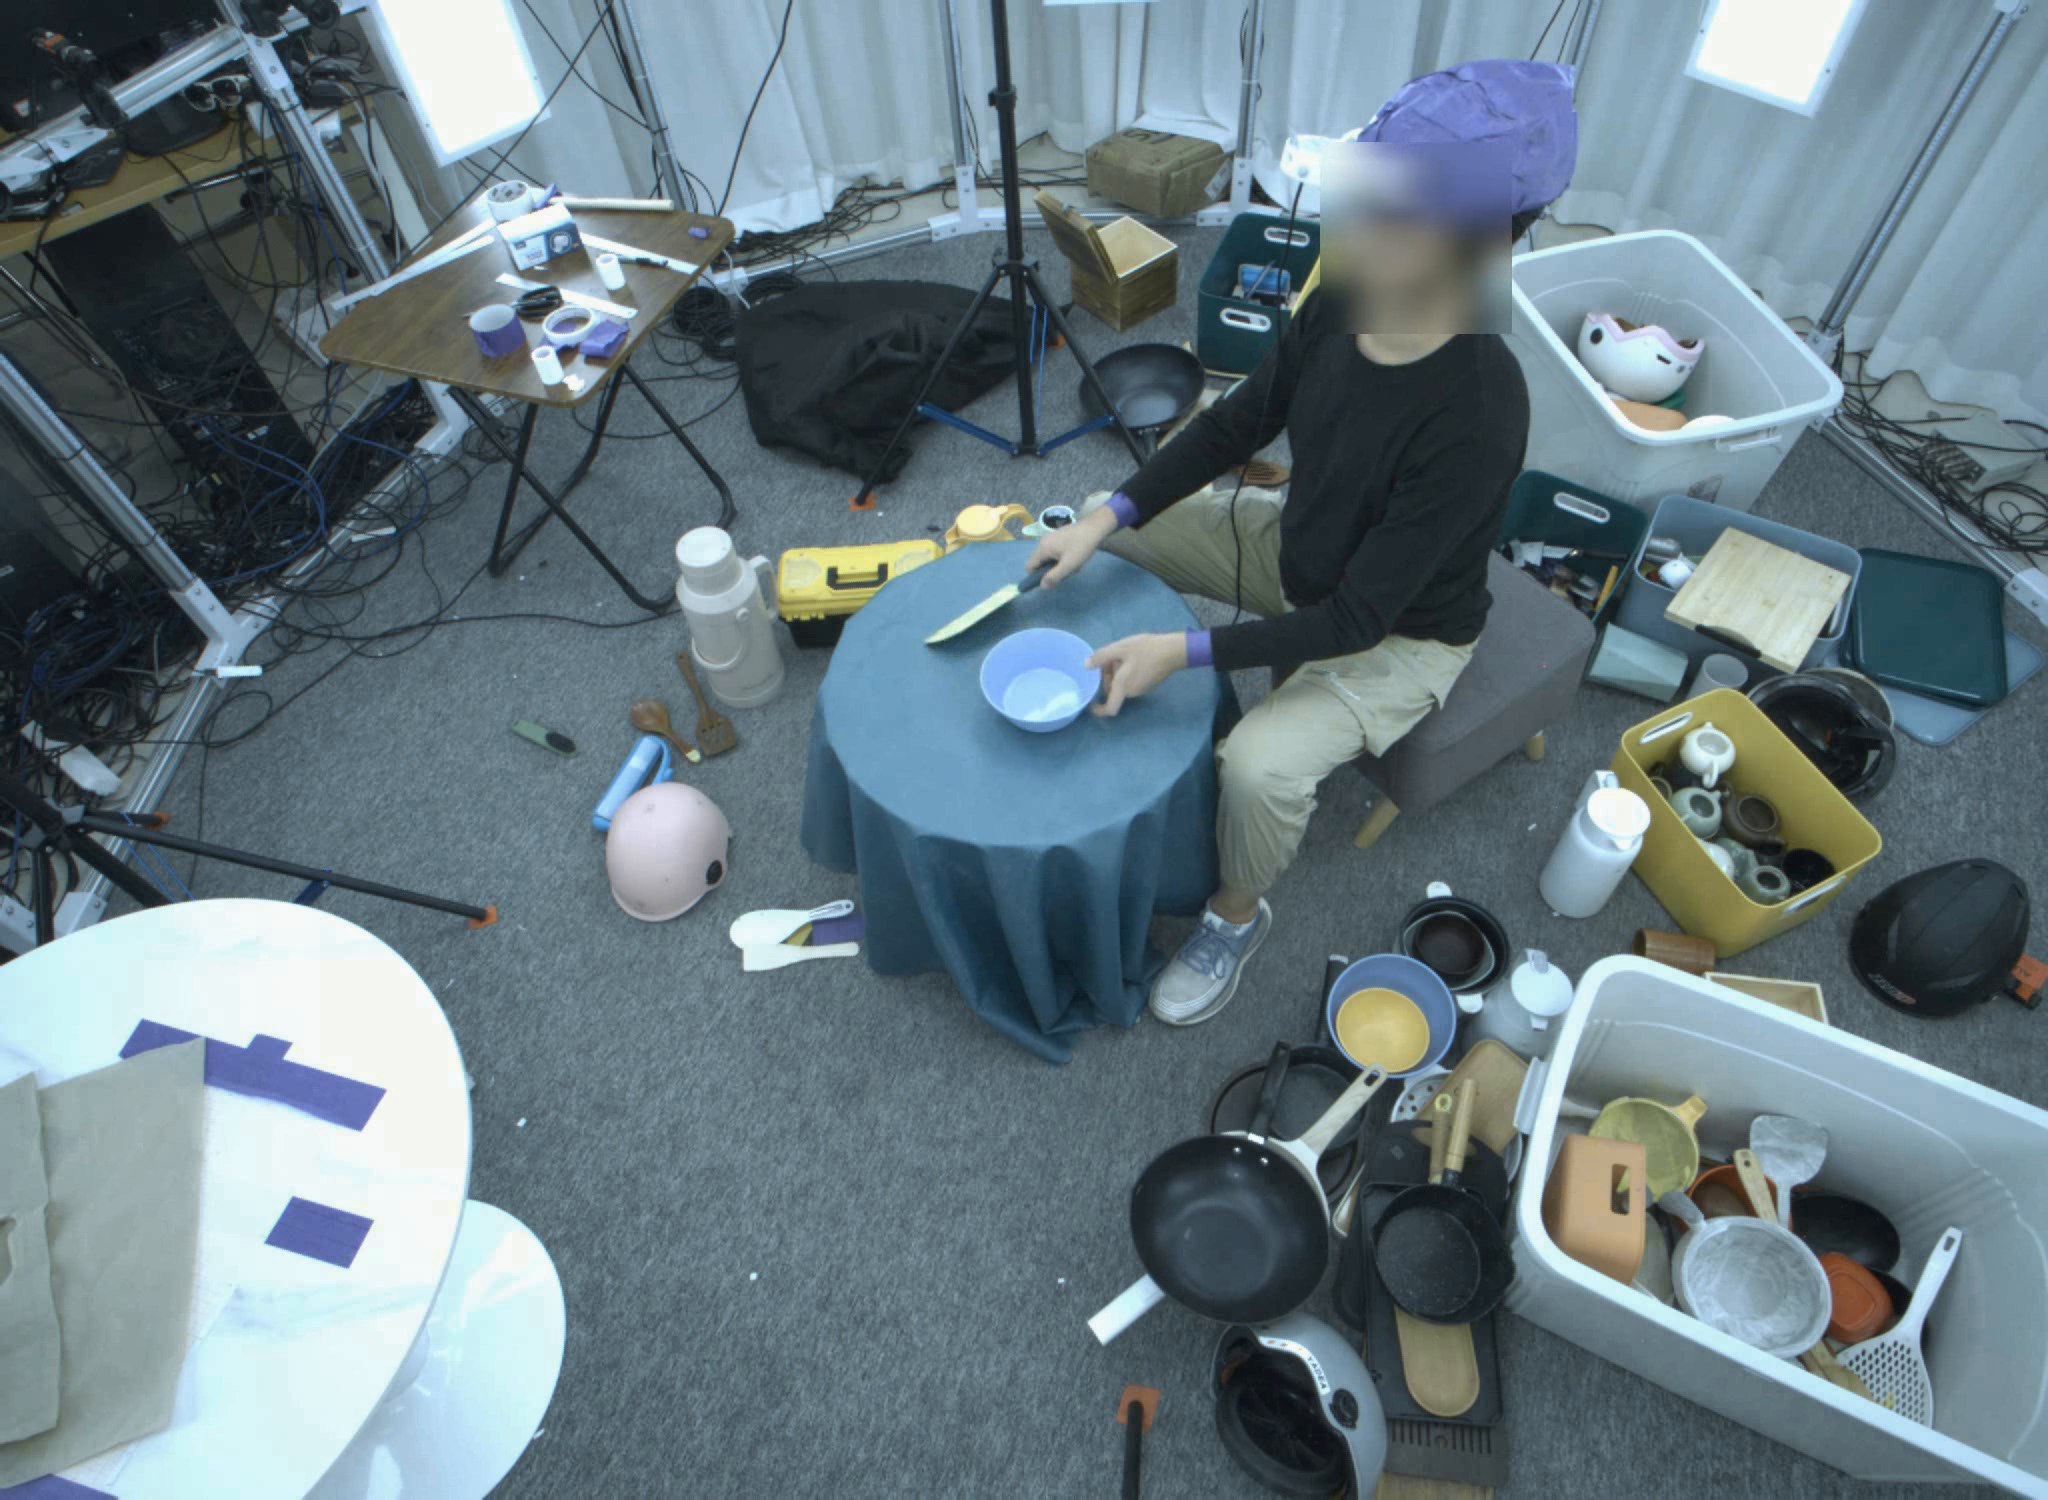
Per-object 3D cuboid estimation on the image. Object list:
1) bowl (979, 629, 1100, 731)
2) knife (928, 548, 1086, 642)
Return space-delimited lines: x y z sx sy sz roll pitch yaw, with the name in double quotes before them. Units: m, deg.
"bowl" 0.024 -0.092 1.806 0.176 0.071 0.174 -1 54 2
"knife" -0.029 -0.242 1.921 0.291 0.027 0.079 -32 26 -14
